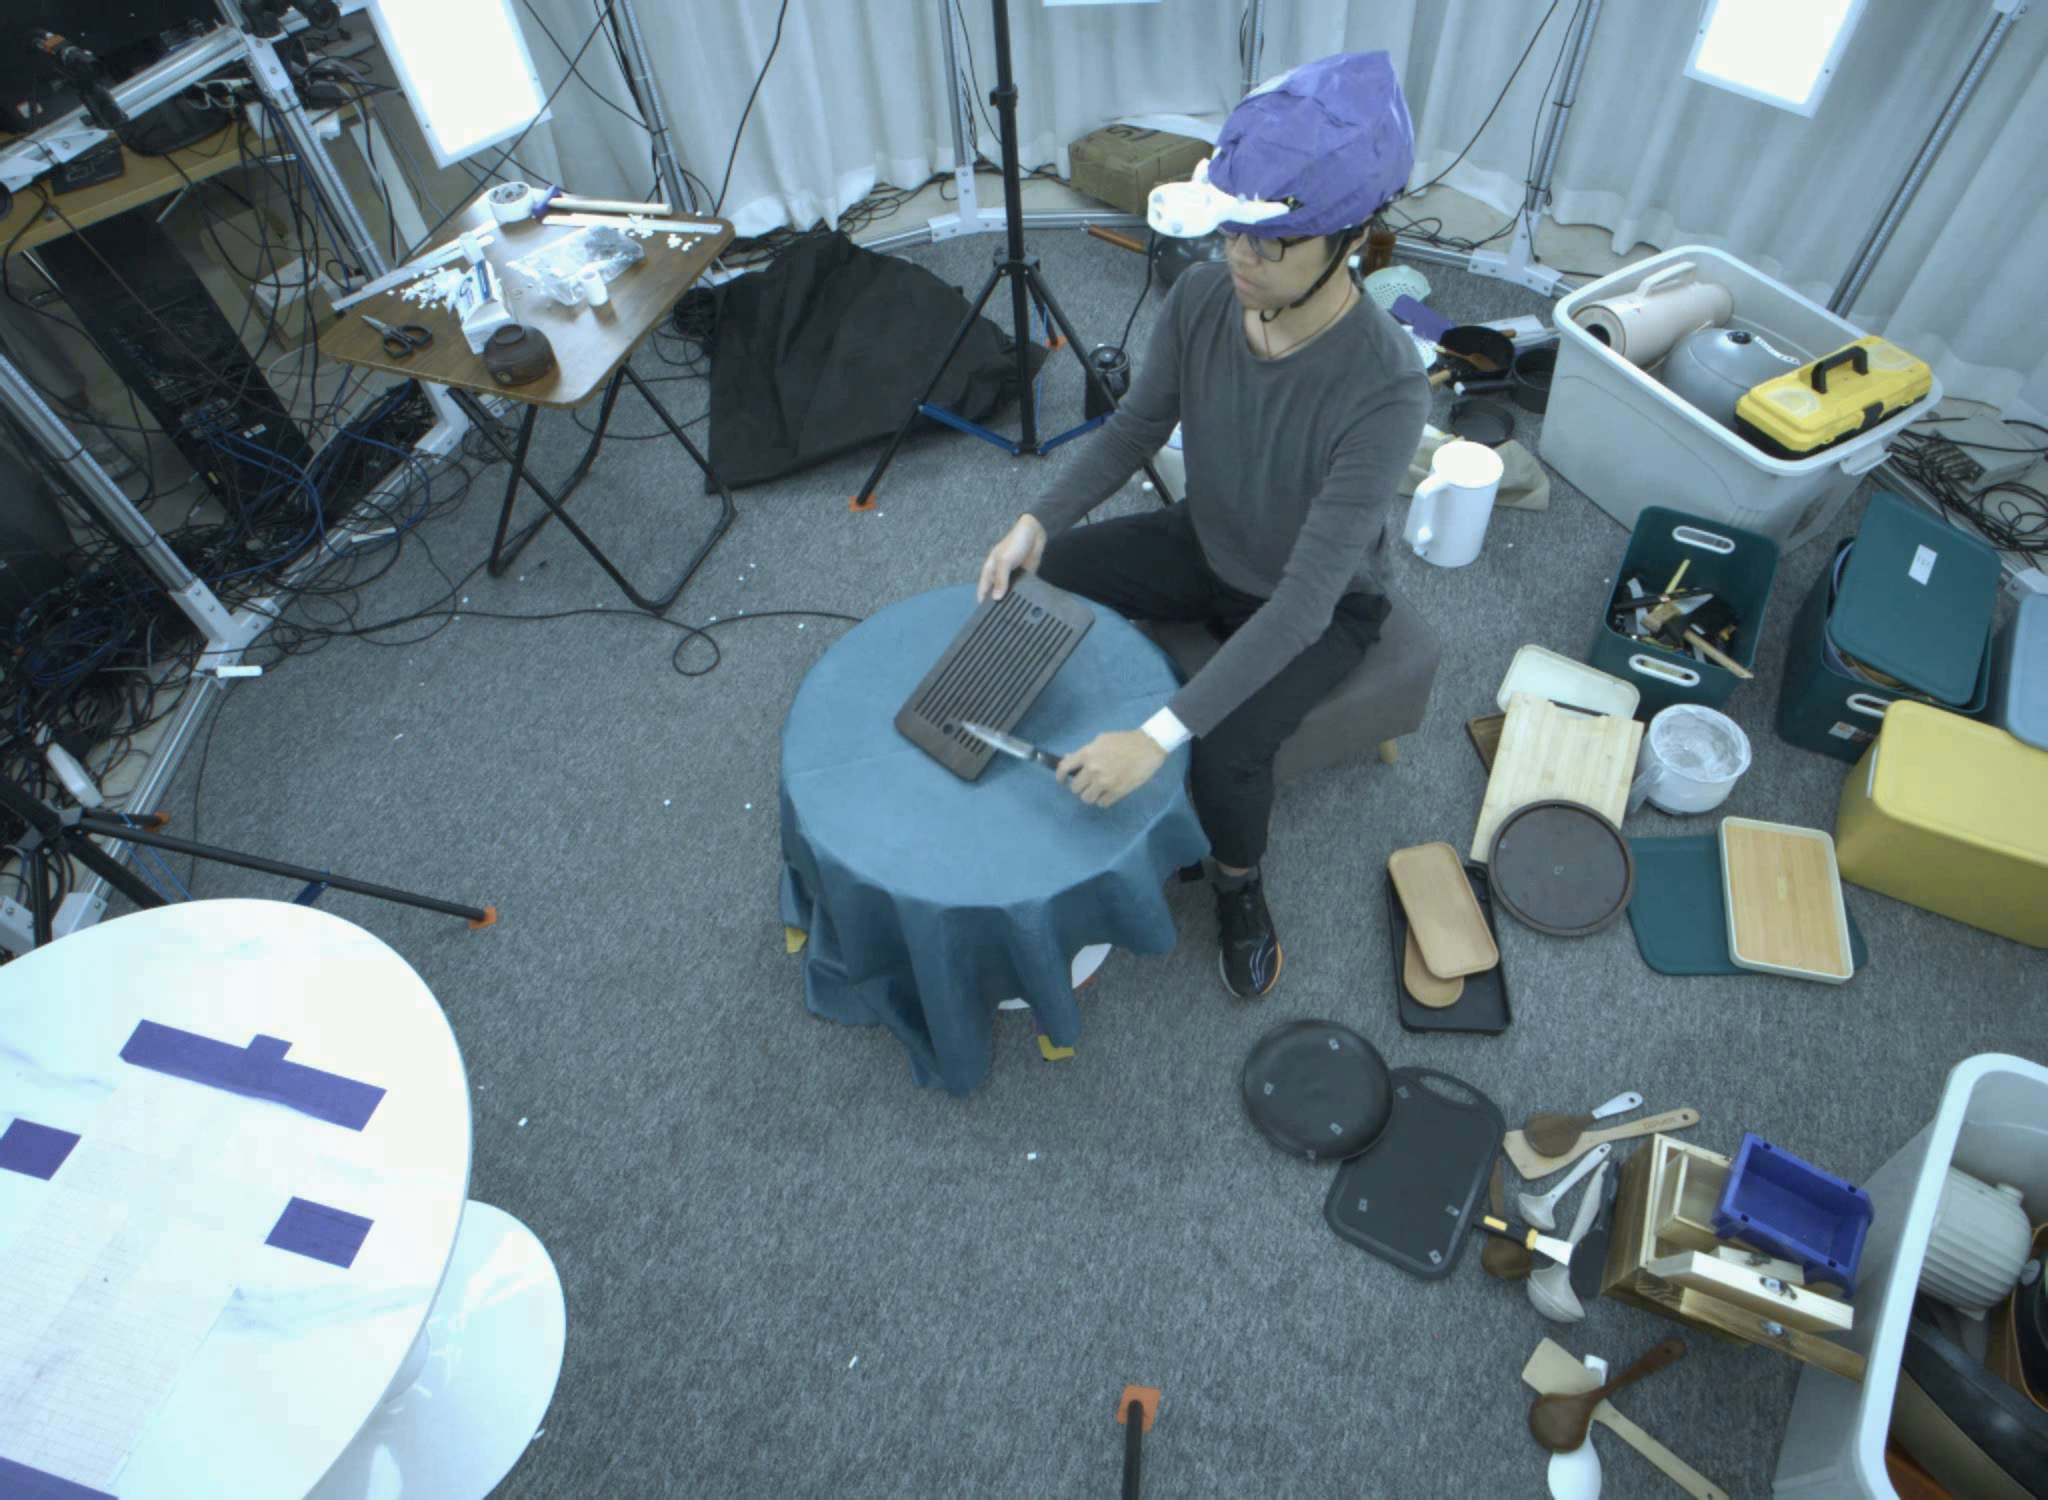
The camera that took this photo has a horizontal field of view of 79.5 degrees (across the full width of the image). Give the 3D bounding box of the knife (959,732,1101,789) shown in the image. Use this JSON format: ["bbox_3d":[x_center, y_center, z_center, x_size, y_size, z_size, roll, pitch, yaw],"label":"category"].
[{"bbox_3d":[0.005,0.008,1.727,0.234,0.016,0.024,20,97,26],"label":"knife"}]

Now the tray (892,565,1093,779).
[{"bbox_3d":[-0.047,-0.117,1.804,0.167,0.019,0.306,35,85,24],"label":"tray"}]
